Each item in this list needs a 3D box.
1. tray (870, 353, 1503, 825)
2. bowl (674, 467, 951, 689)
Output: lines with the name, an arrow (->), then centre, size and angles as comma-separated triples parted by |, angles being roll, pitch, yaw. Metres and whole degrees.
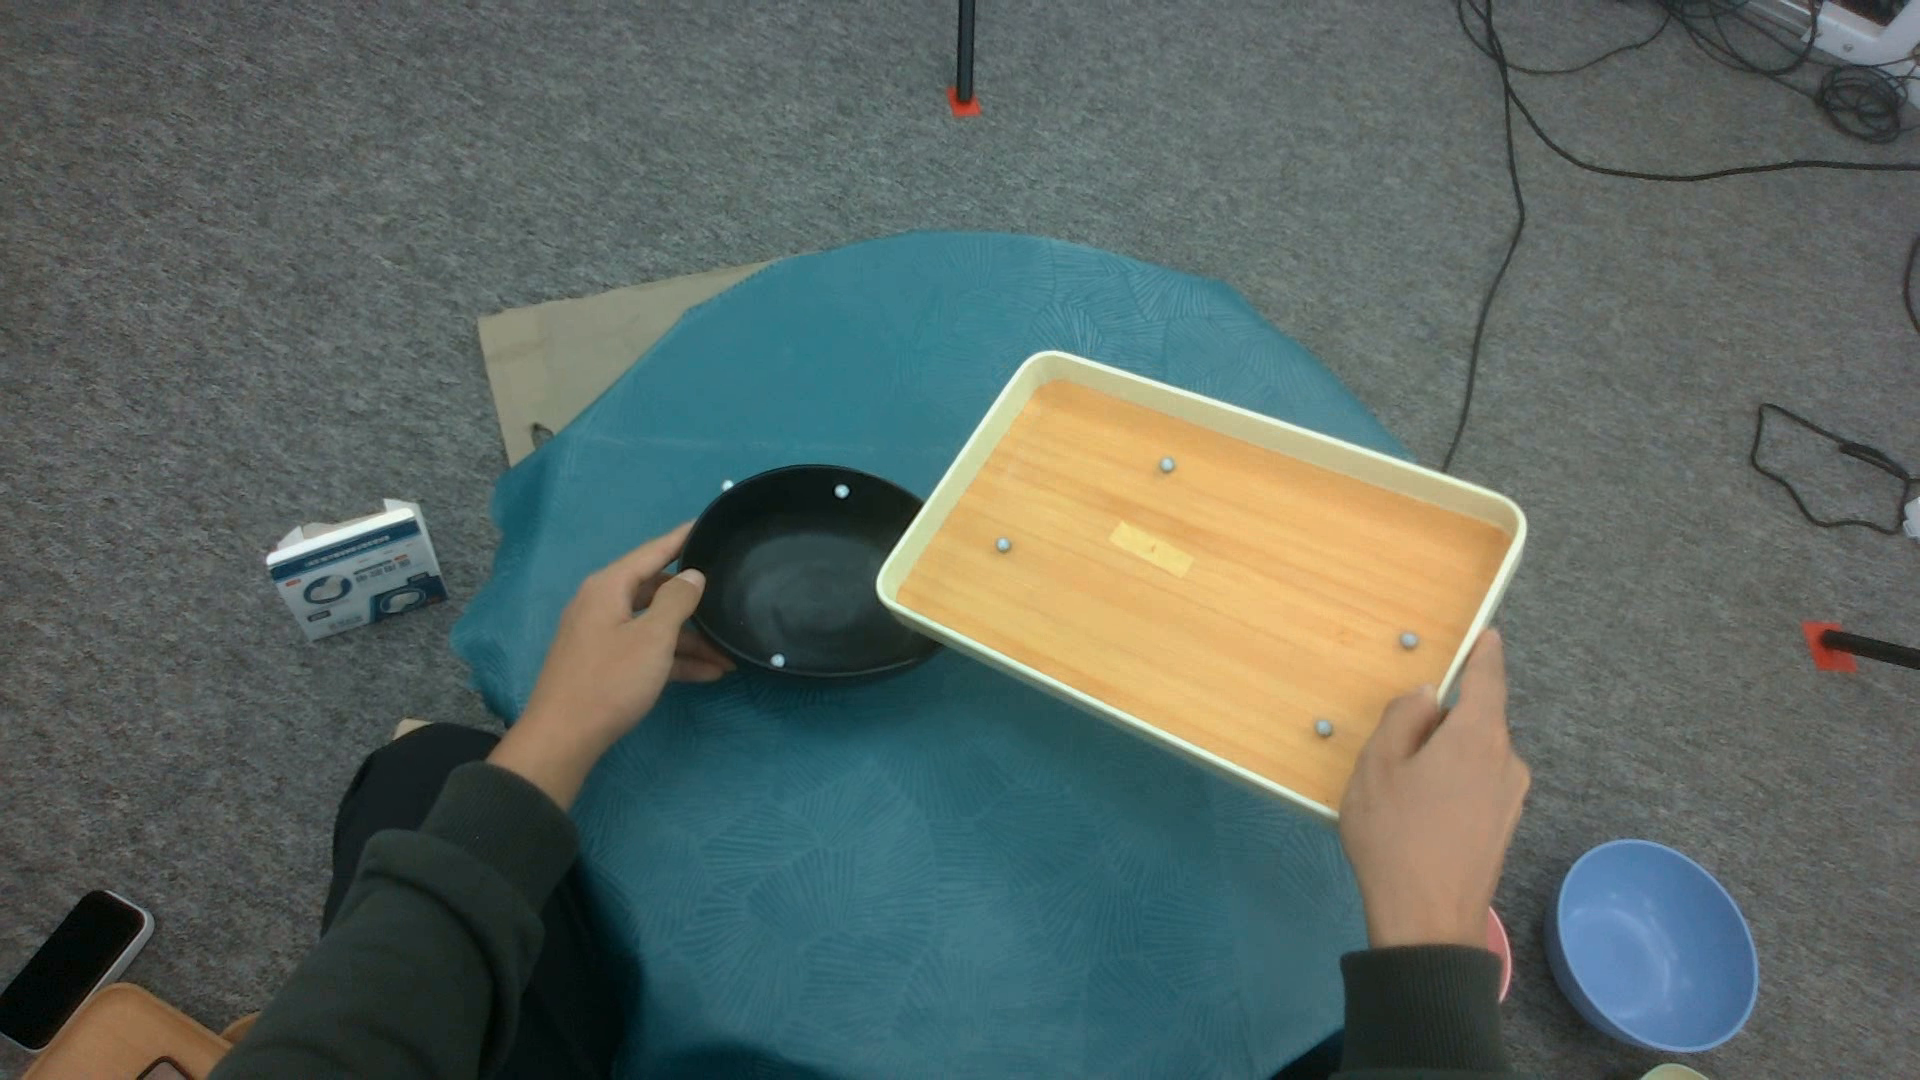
tray -> 0.115, 0.012, 0.748 | 0.300, 0.027, 0.192 | 23, 68, 28
bowl -> -0.082, 0.031, 0.808 | 0.170, 0.066, 0.138 | 2, 61, -14
